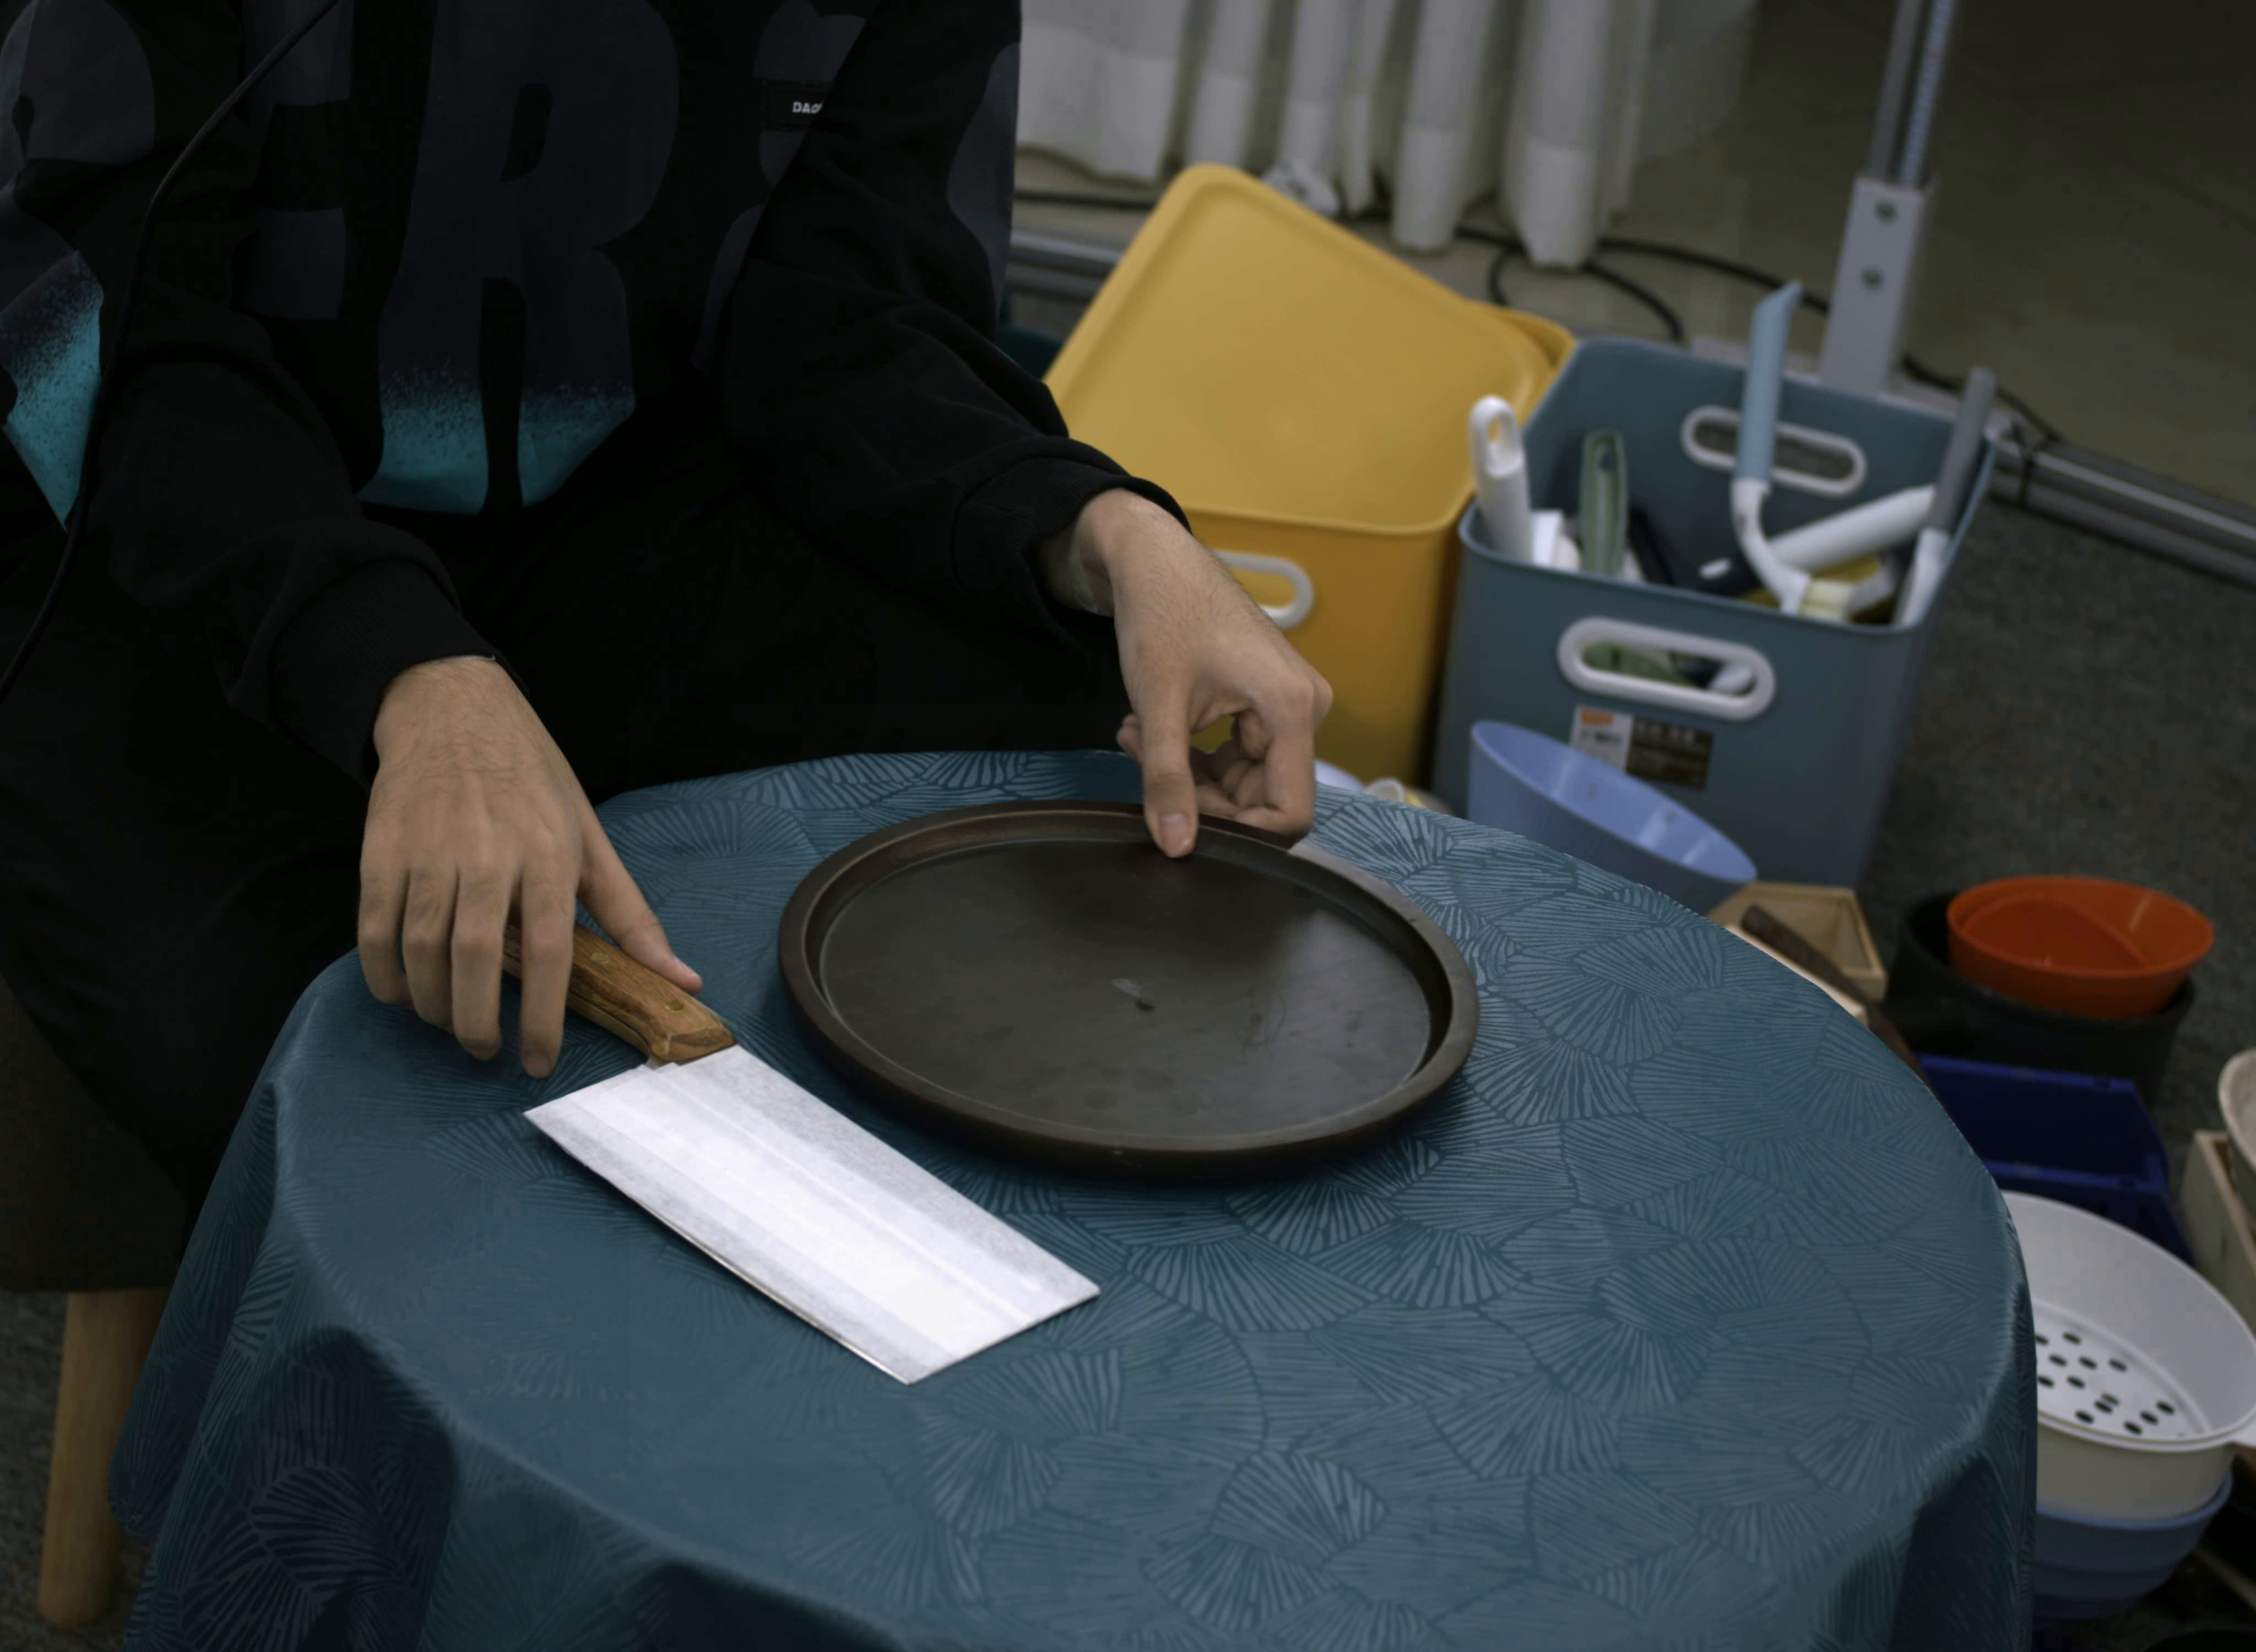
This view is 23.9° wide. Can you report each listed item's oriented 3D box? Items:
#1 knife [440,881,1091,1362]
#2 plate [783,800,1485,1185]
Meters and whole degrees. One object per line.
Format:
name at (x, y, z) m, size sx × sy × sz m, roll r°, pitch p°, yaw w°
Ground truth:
knife at (-0.146, 0.100, 1.800) m, size 0.092 × 0.021 × 0.308 m, roll -22°, pitch 41°, yaw -41°
plate at (0.002, 0.058, 1.903) m, size 0.254 × 0.029 × 0.256 m, roll 6°, pitch 26°, yaw -3°
